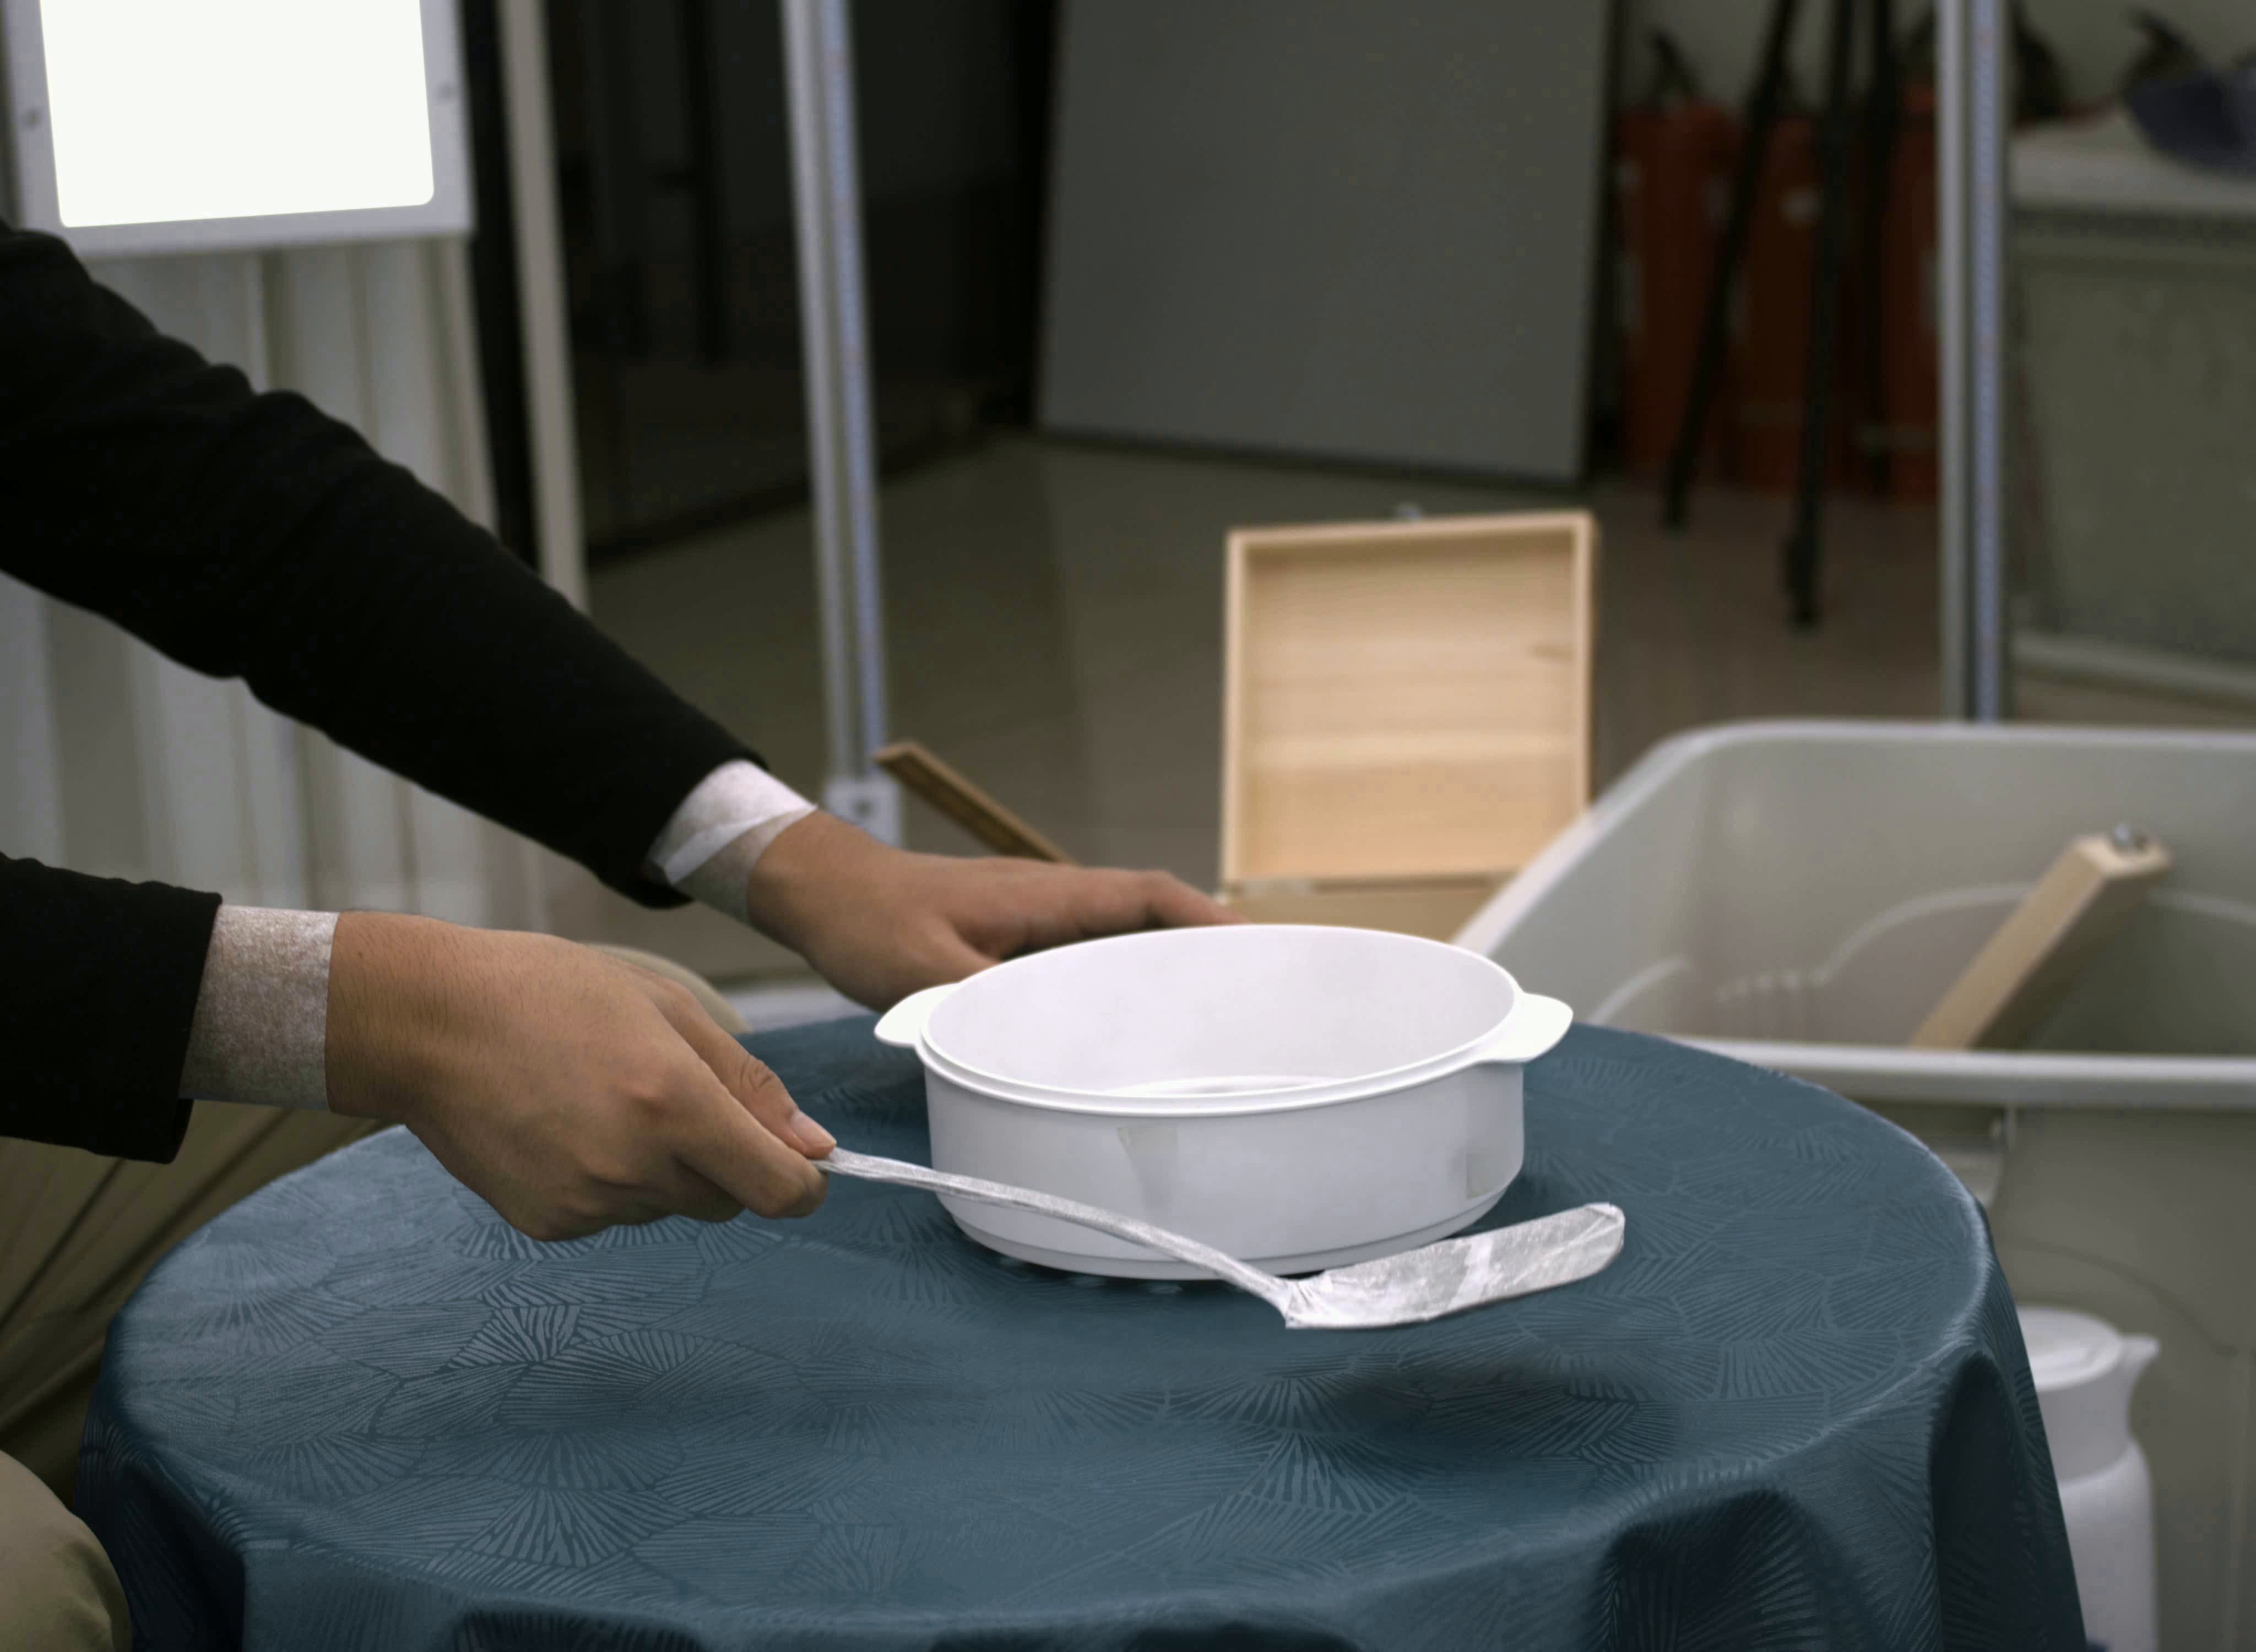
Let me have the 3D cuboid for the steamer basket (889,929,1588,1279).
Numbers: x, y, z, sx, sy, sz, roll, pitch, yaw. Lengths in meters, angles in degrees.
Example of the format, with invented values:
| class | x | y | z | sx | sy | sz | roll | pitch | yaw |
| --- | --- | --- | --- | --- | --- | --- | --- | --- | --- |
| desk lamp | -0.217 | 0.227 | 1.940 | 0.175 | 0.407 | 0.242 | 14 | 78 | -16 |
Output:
| class | x | y | z | sx | sy | sz | roll | pitch | yaw |
| --- | --- | --- | --- | --- | --- | --- | --- | --- | --- |
| steamer basket | 0.037 | 0.089 | 1.742 | 0.230 | 0.070 | 0.200 | -1 | 13 | 18 |

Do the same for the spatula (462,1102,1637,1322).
| class | x | y | z | sx | sy | sz | roll | pitch | yaw |
| --- | --- | --- | --- | --- | --- | --- | --- | --- | --- |
| spatula | -0.031 | 0.103 | 1.588 | 0.363 | 0.045 | 0.098 | 10 | 14 | 15 |
